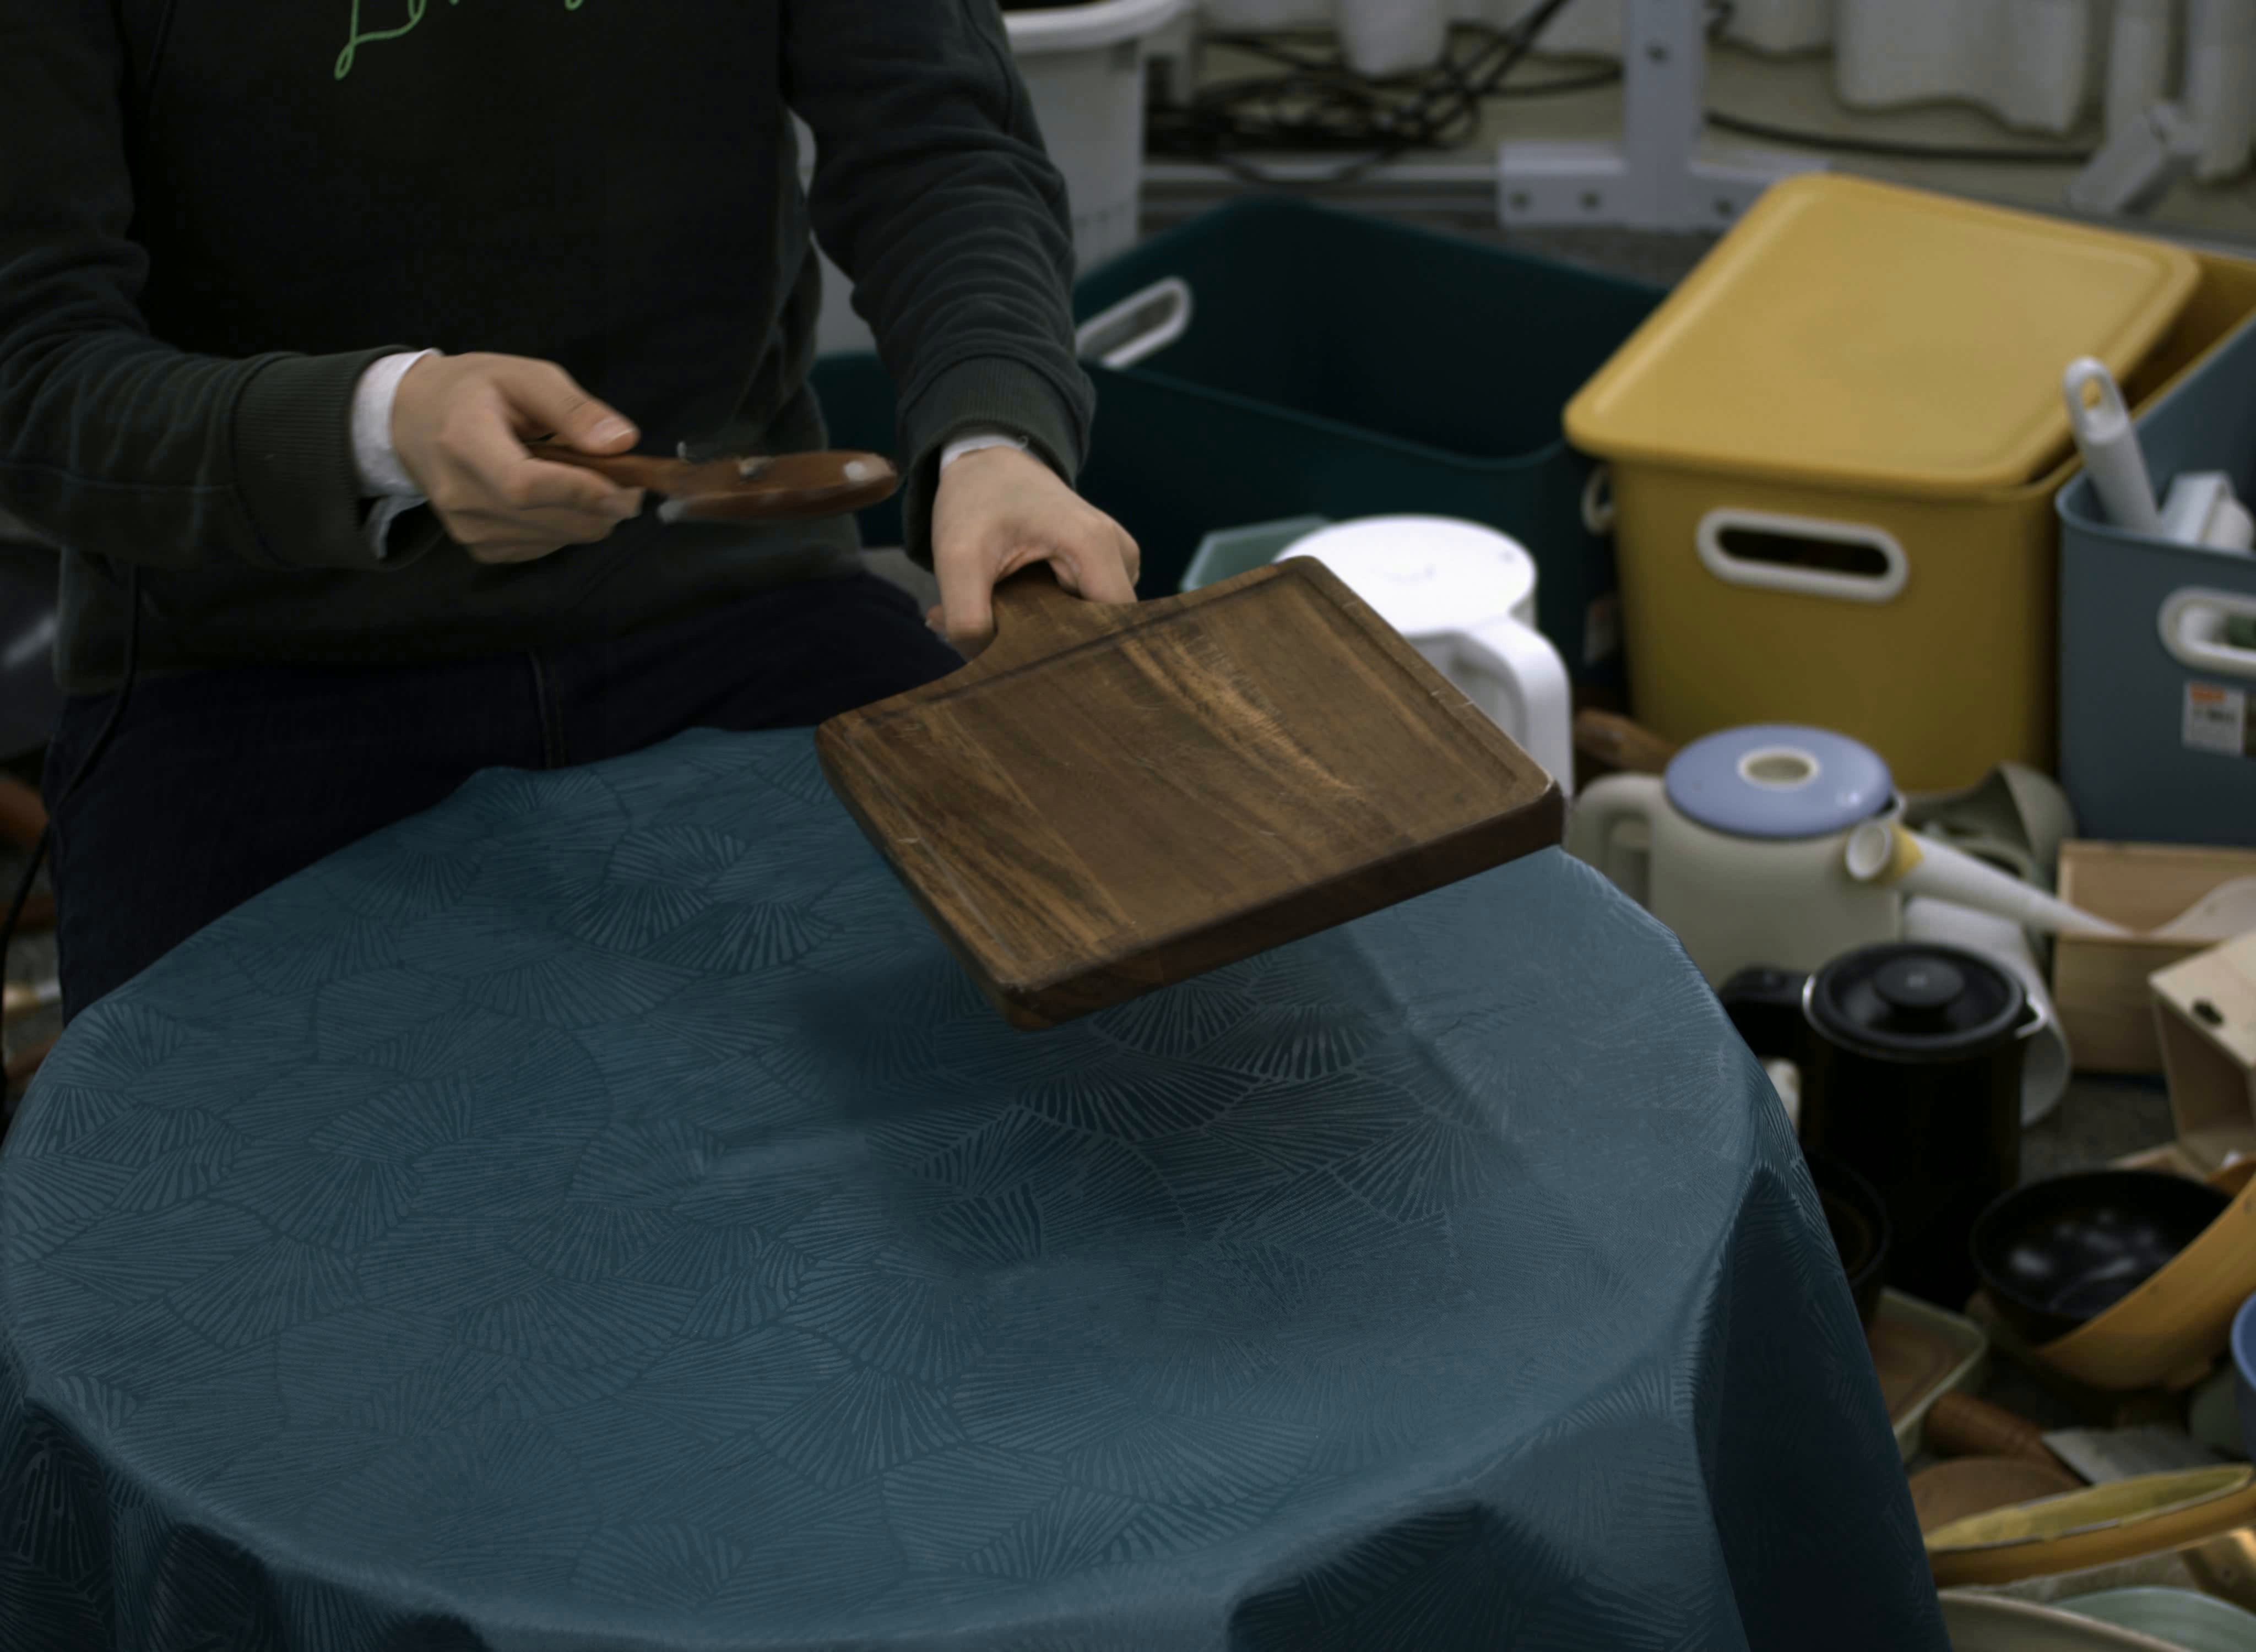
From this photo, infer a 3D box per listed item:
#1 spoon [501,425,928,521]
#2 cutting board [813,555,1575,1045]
[{"bbox_3d":[-0.147,-0.122,1.925,0.076,0.017,0.214,-21,20,-37],"label":"spoon"},{"bbox_3d":[0.002,-0.030,1.940,0.201,0.023,0.354,-20,25,-10],"label":"cutting board"}]
